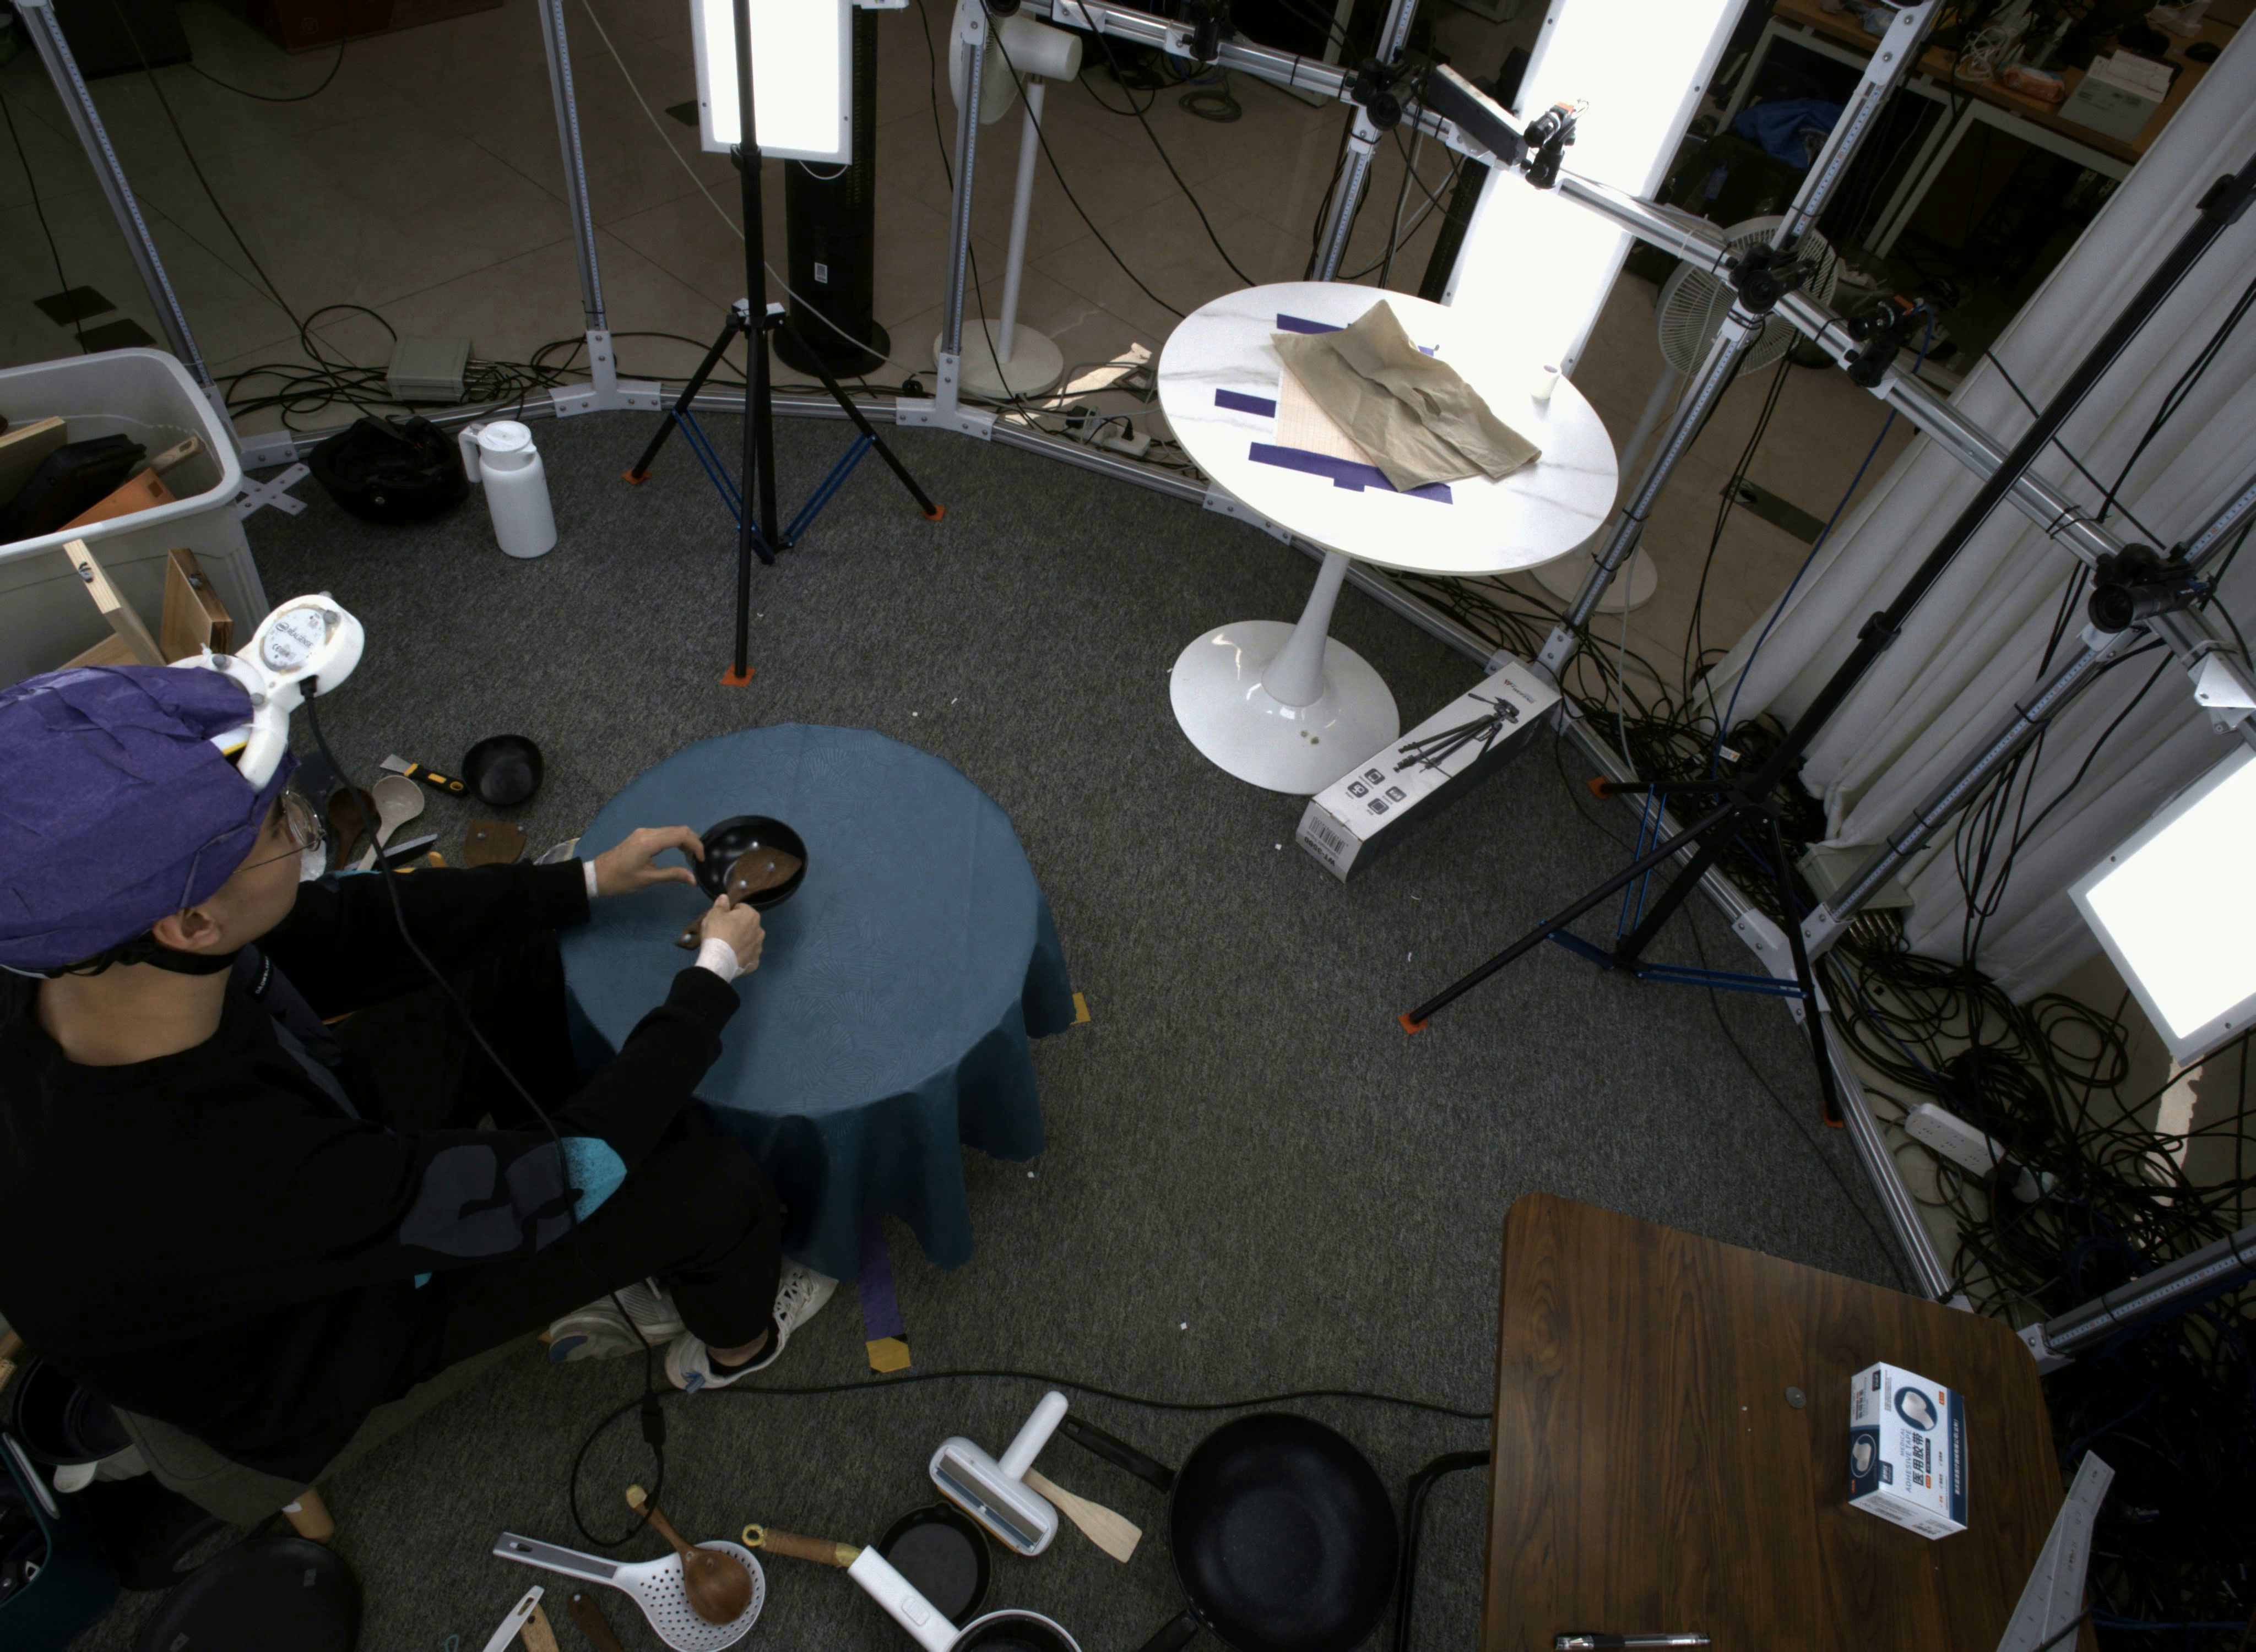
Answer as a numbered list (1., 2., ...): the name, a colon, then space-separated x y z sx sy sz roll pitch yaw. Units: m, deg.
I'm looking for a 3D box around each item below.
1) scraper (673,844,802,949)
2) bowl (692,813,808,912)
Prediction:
1. scraper: -0.471 0.083 1.539 0.074 0.011 0.210 21 34 9
2. bowl: -0.466 0.052 1.597 0.140 0.050 0.137 10 53 -12
